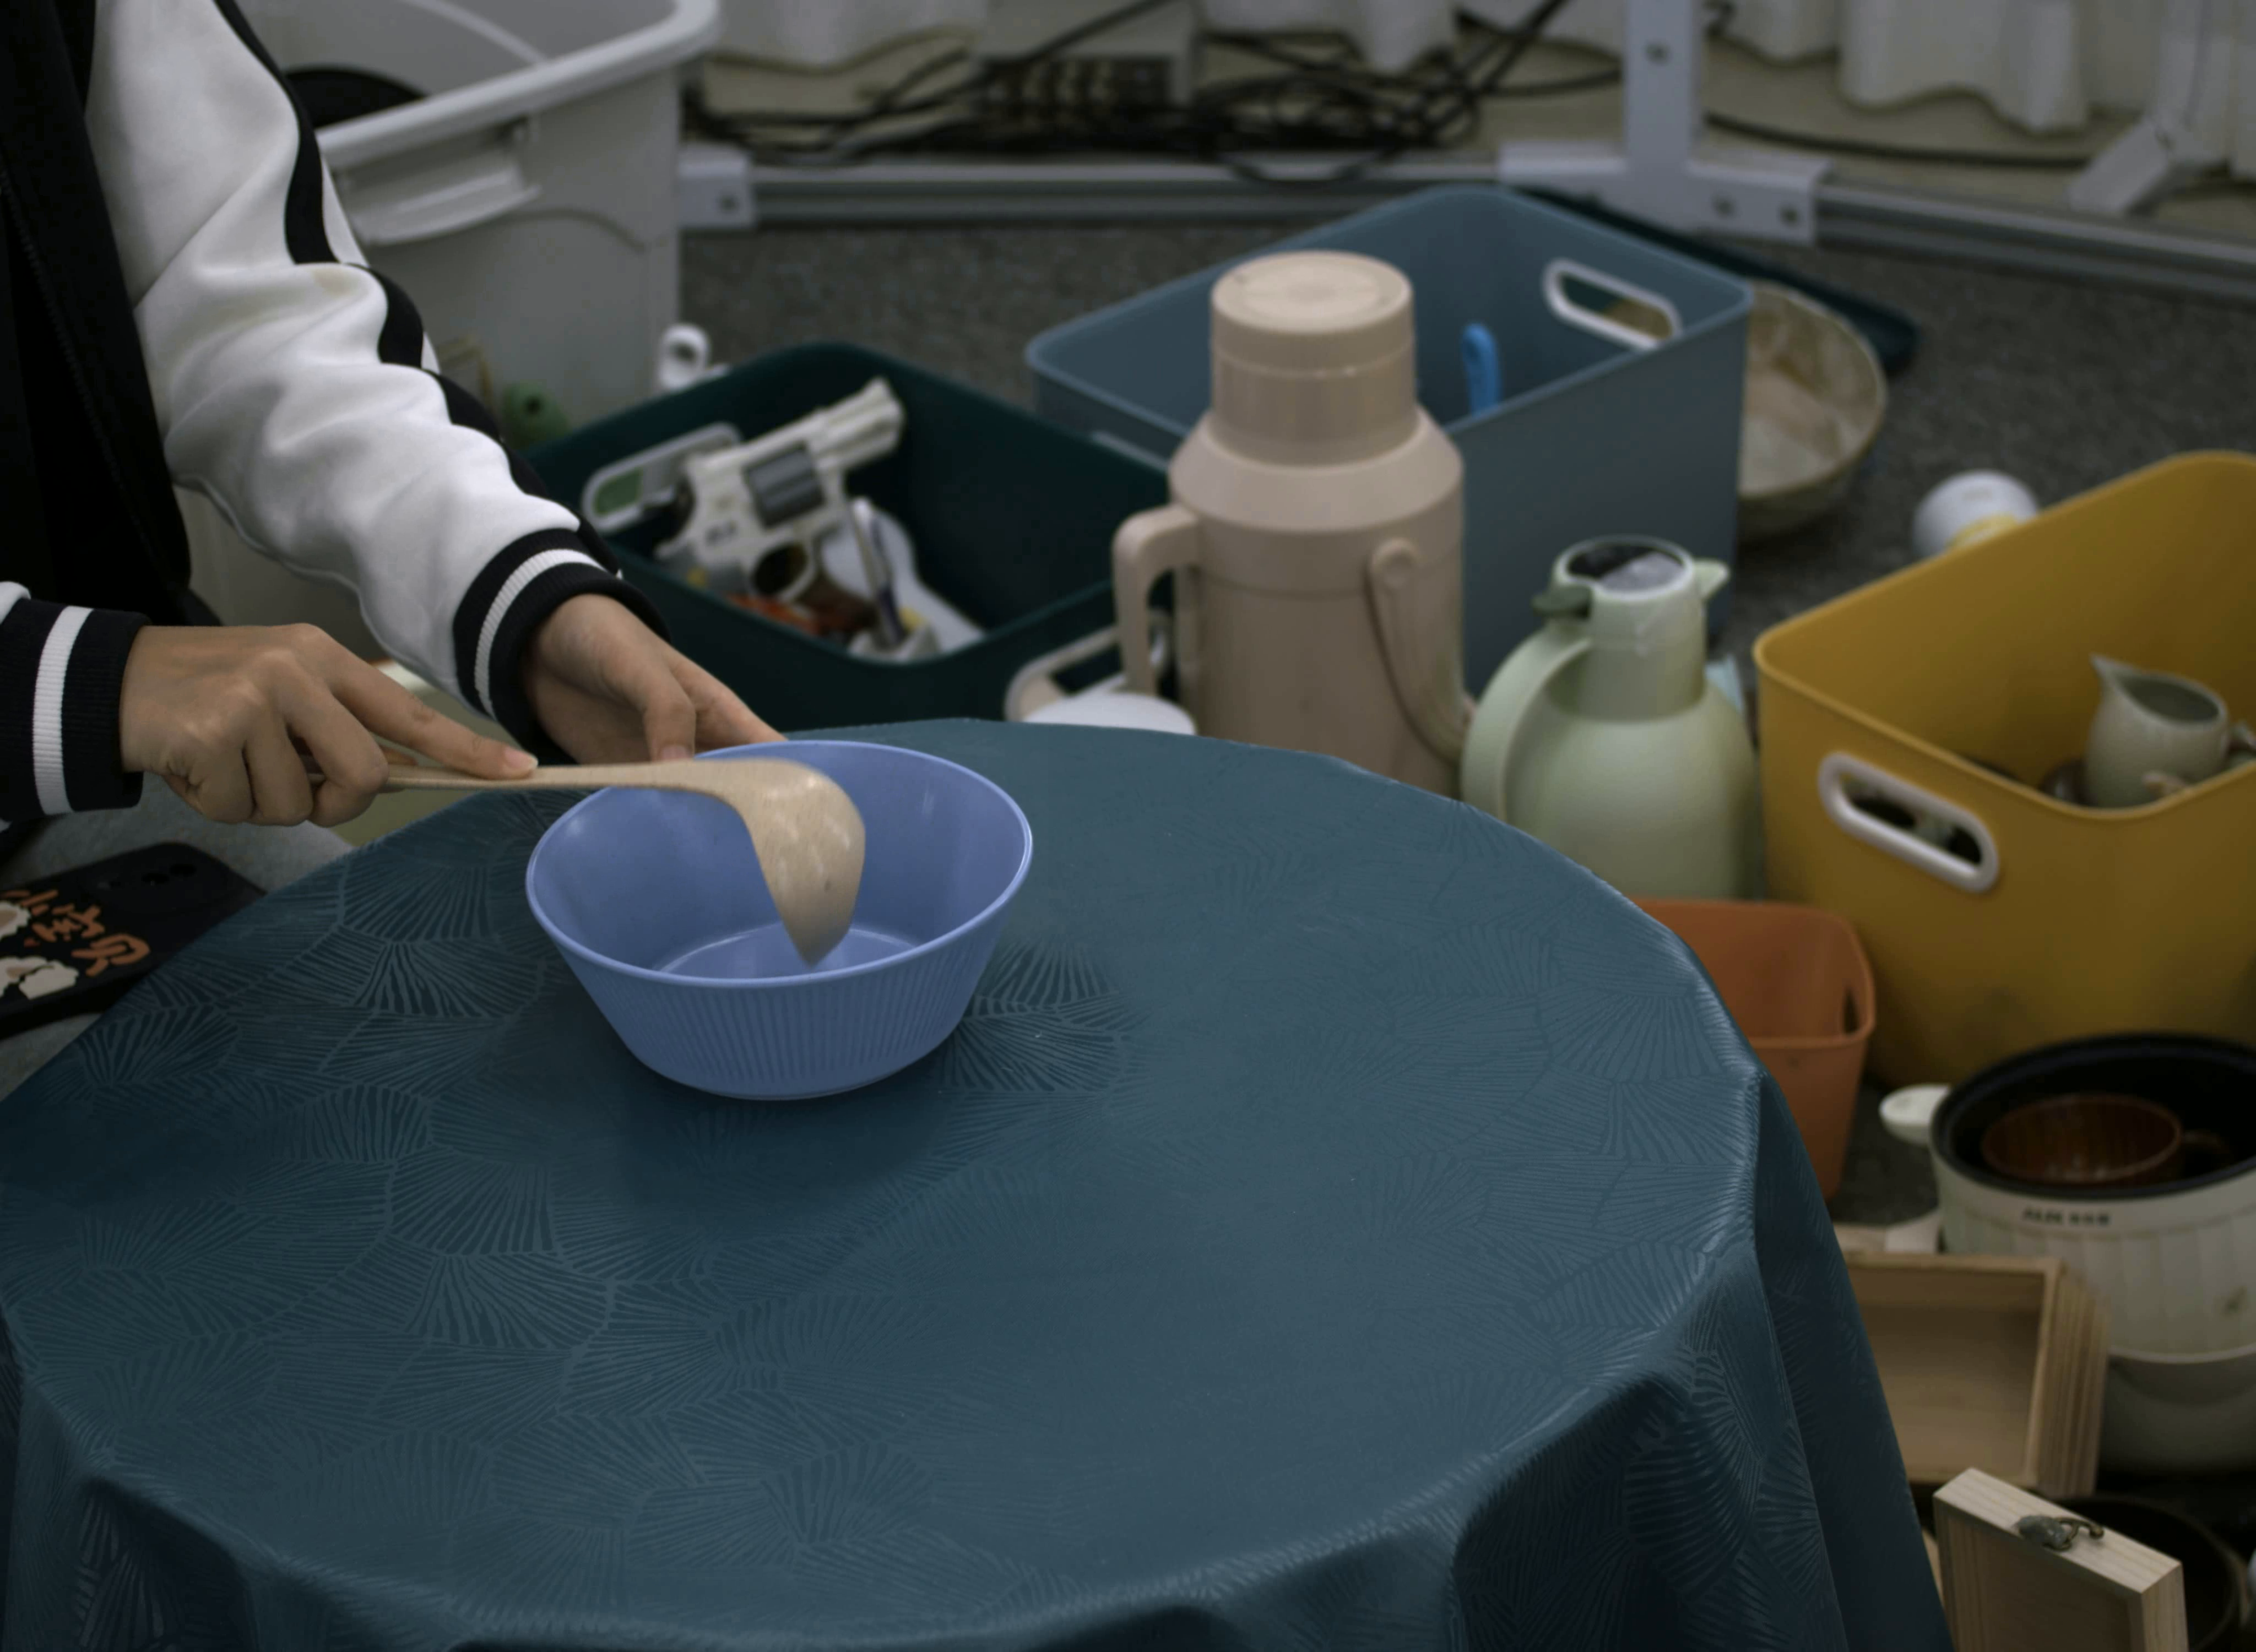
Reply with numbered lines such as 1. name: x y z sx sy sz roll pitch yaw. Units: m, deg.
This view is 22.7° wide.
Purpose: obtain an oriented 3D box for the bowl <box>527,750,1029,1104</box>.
1. bowl: -0.120 0.041 1.956 0.175 0.069 0.179 -1 27 1

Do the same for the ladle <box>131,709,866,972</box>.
1. ladle: -0.218 0.008 1.940 0.253 0.072 0.073 6 25 -7
